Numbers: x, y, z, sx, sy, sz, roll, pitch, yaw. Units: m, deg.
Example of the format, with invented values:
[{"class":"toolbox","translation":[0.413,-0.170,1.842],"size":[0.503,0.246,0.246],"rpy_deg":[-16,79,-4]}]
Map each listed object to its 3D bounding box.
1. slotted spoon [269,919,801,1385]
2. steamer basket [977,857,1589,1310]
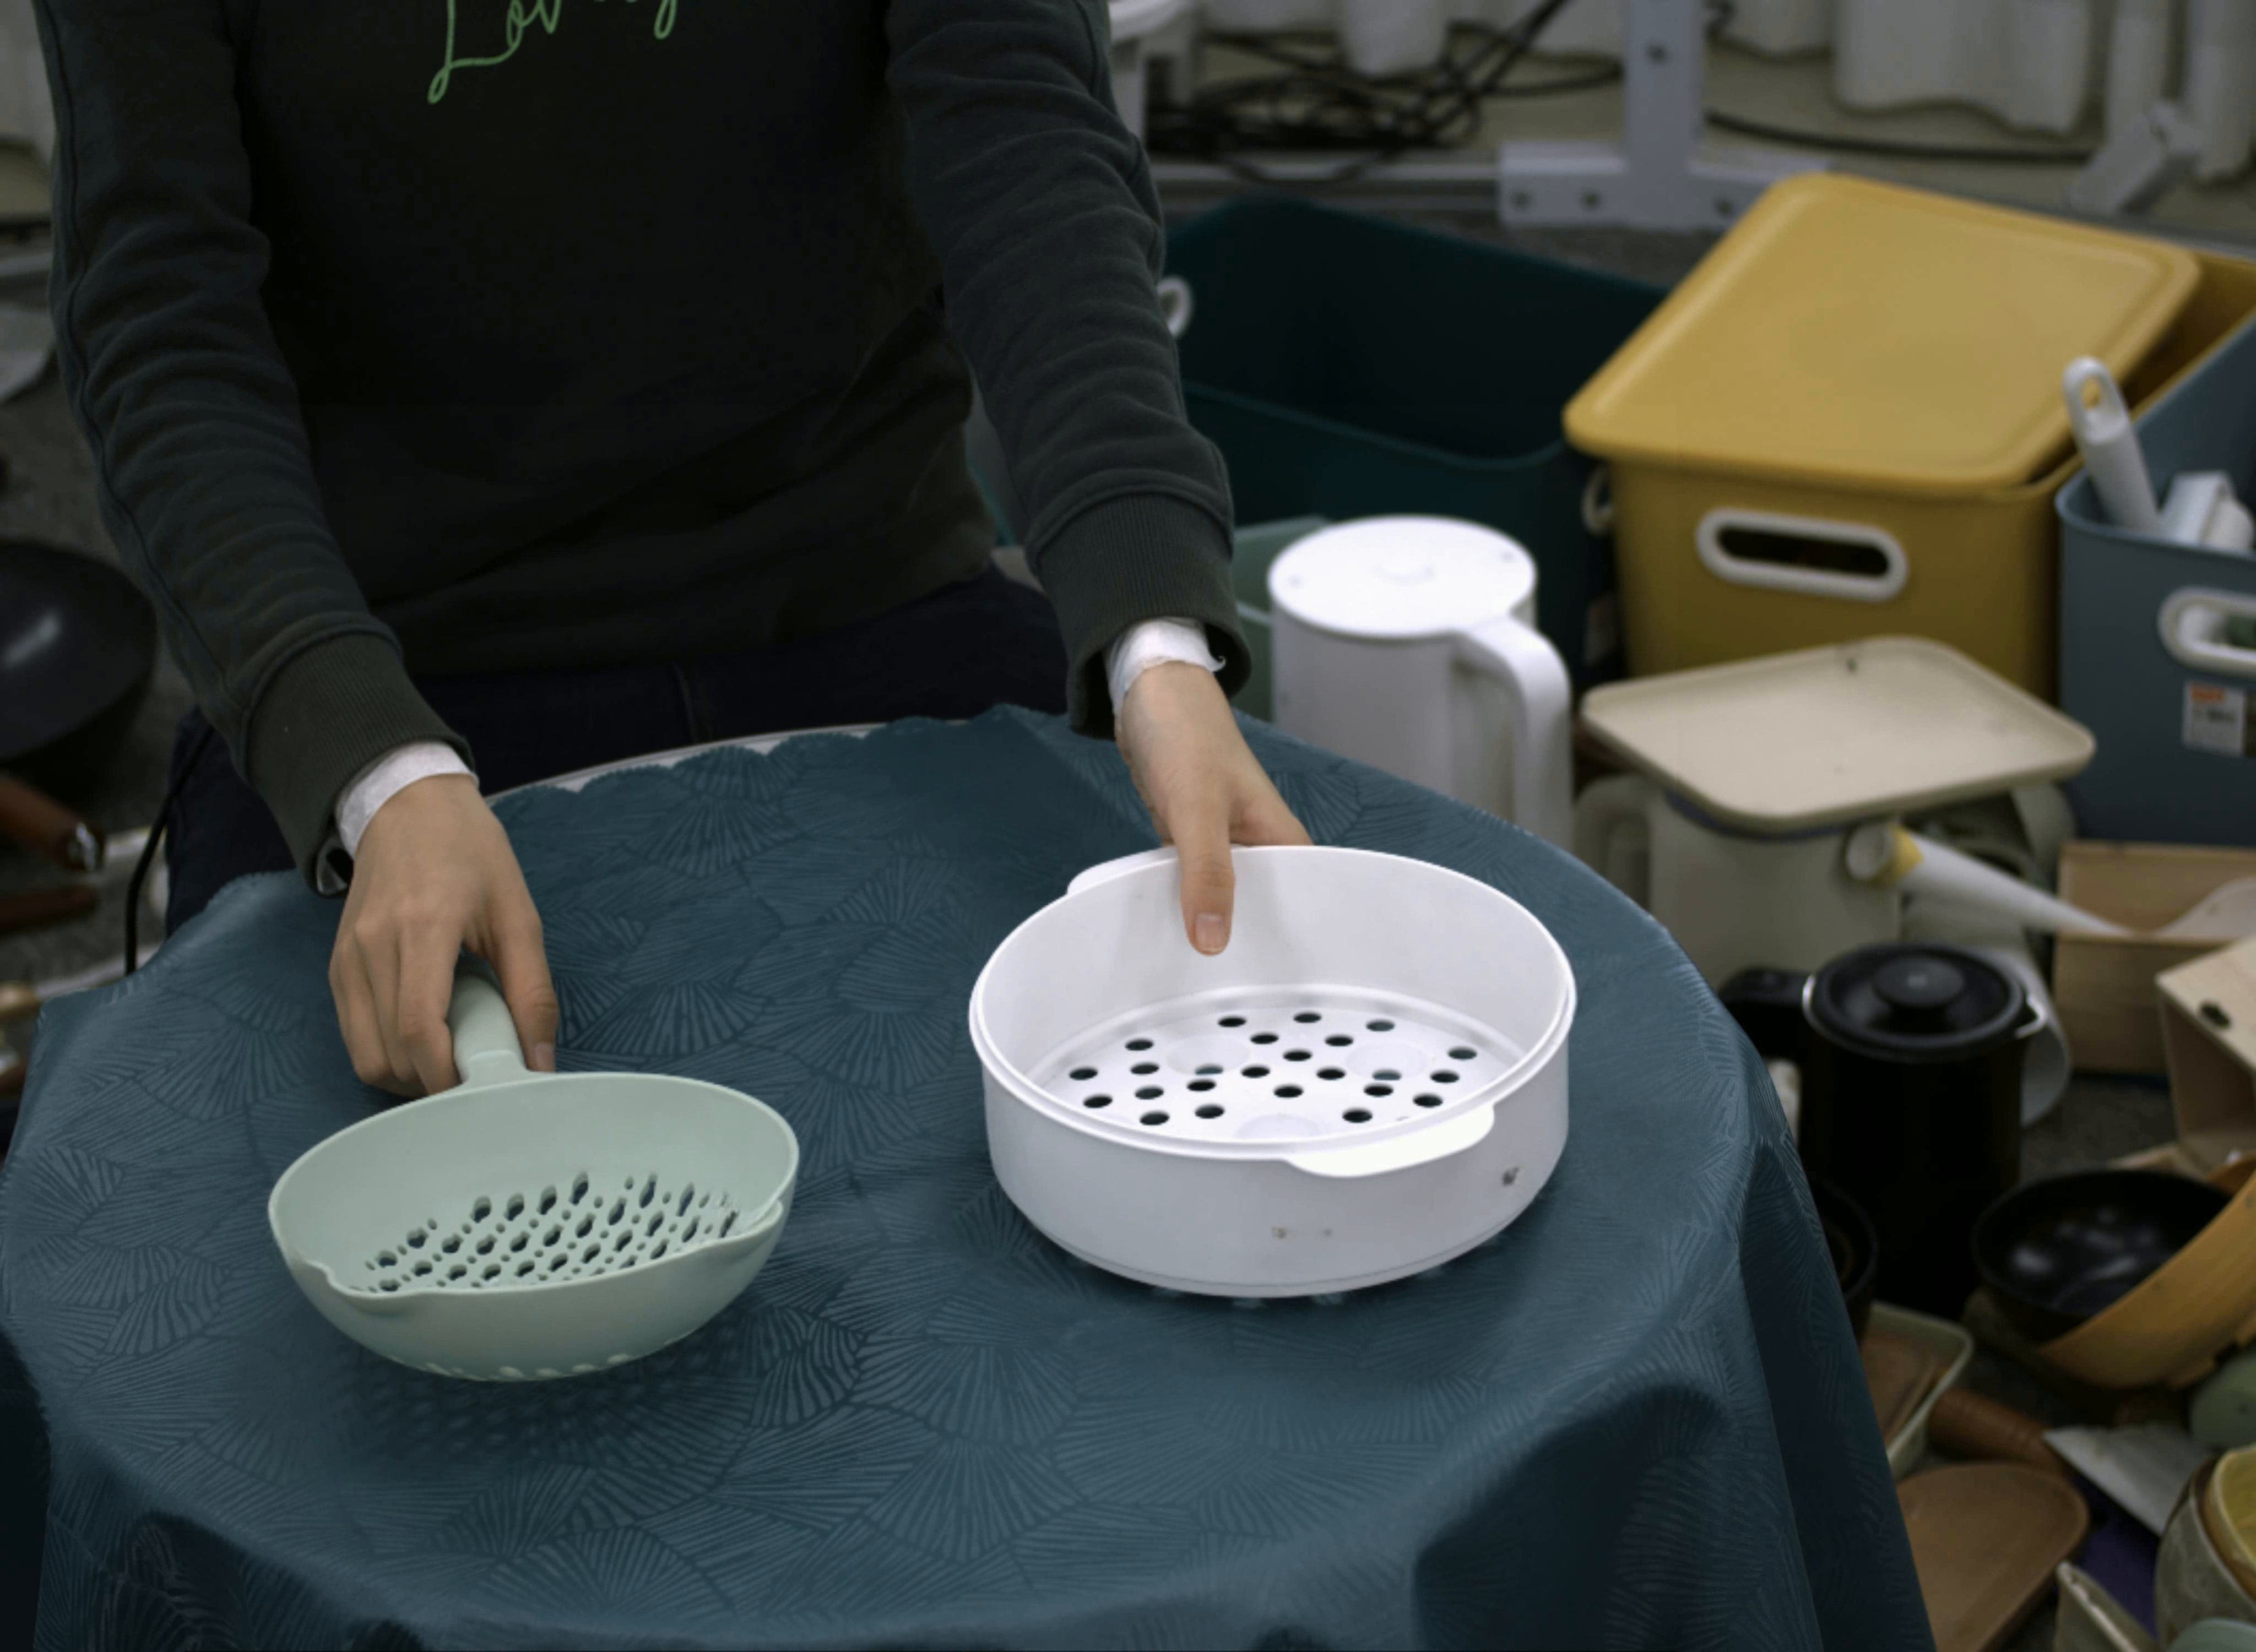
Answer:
[{"class":"slotted spoon","translation":[-0.208,0.092,1.869],"size":[0.169,0.074,0.363],"rpy_deg":[-8,28,-11]},{"class":"steamer basket","translation":[0.052,0.086,1.857],"size":[0.202,0.068,0.232],"rpy_deg":[-12,29,-19]}]
